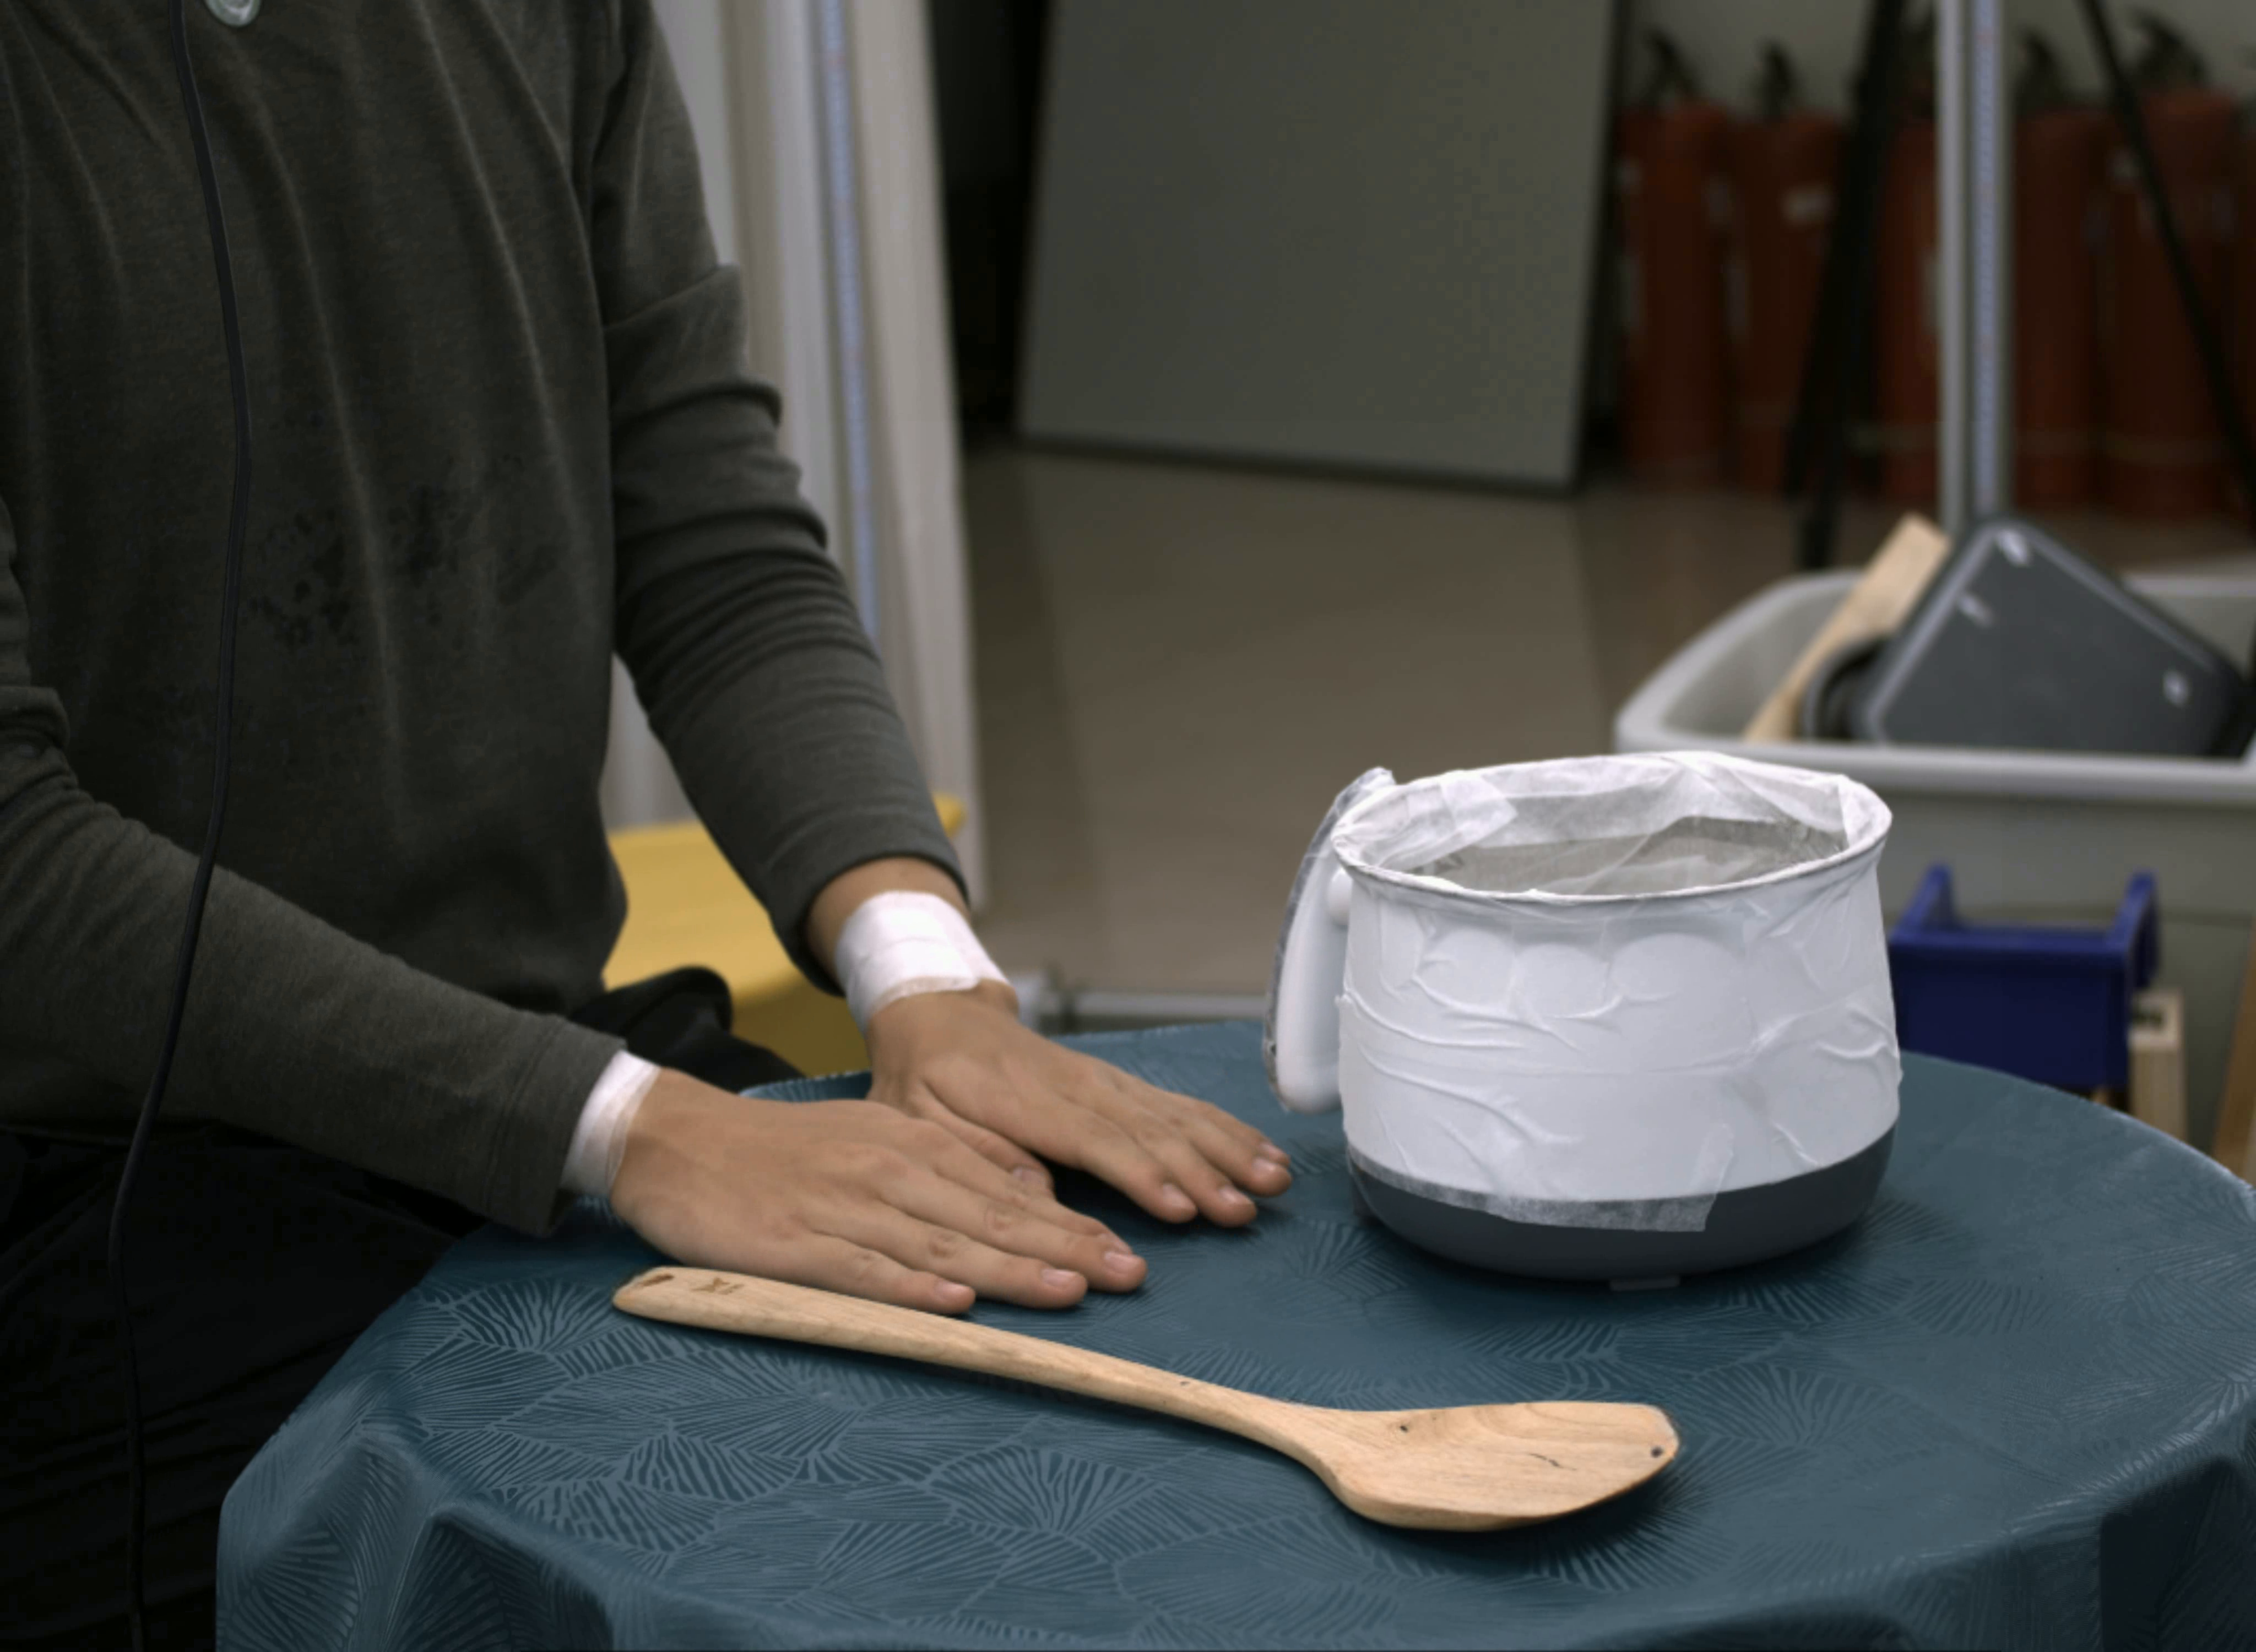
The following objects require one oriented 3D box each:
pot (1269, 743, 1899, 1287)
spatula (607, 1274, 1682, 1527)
[{"bbox_3d":[0.135,0.054,1.713,0.236,0.138,0.175,10,18,44],"label":"pot"},{"bbox_3d":[-0.013,0.162,1.572,0.394,0.018,0.094,7,16,39],"label":"spatula"}]
